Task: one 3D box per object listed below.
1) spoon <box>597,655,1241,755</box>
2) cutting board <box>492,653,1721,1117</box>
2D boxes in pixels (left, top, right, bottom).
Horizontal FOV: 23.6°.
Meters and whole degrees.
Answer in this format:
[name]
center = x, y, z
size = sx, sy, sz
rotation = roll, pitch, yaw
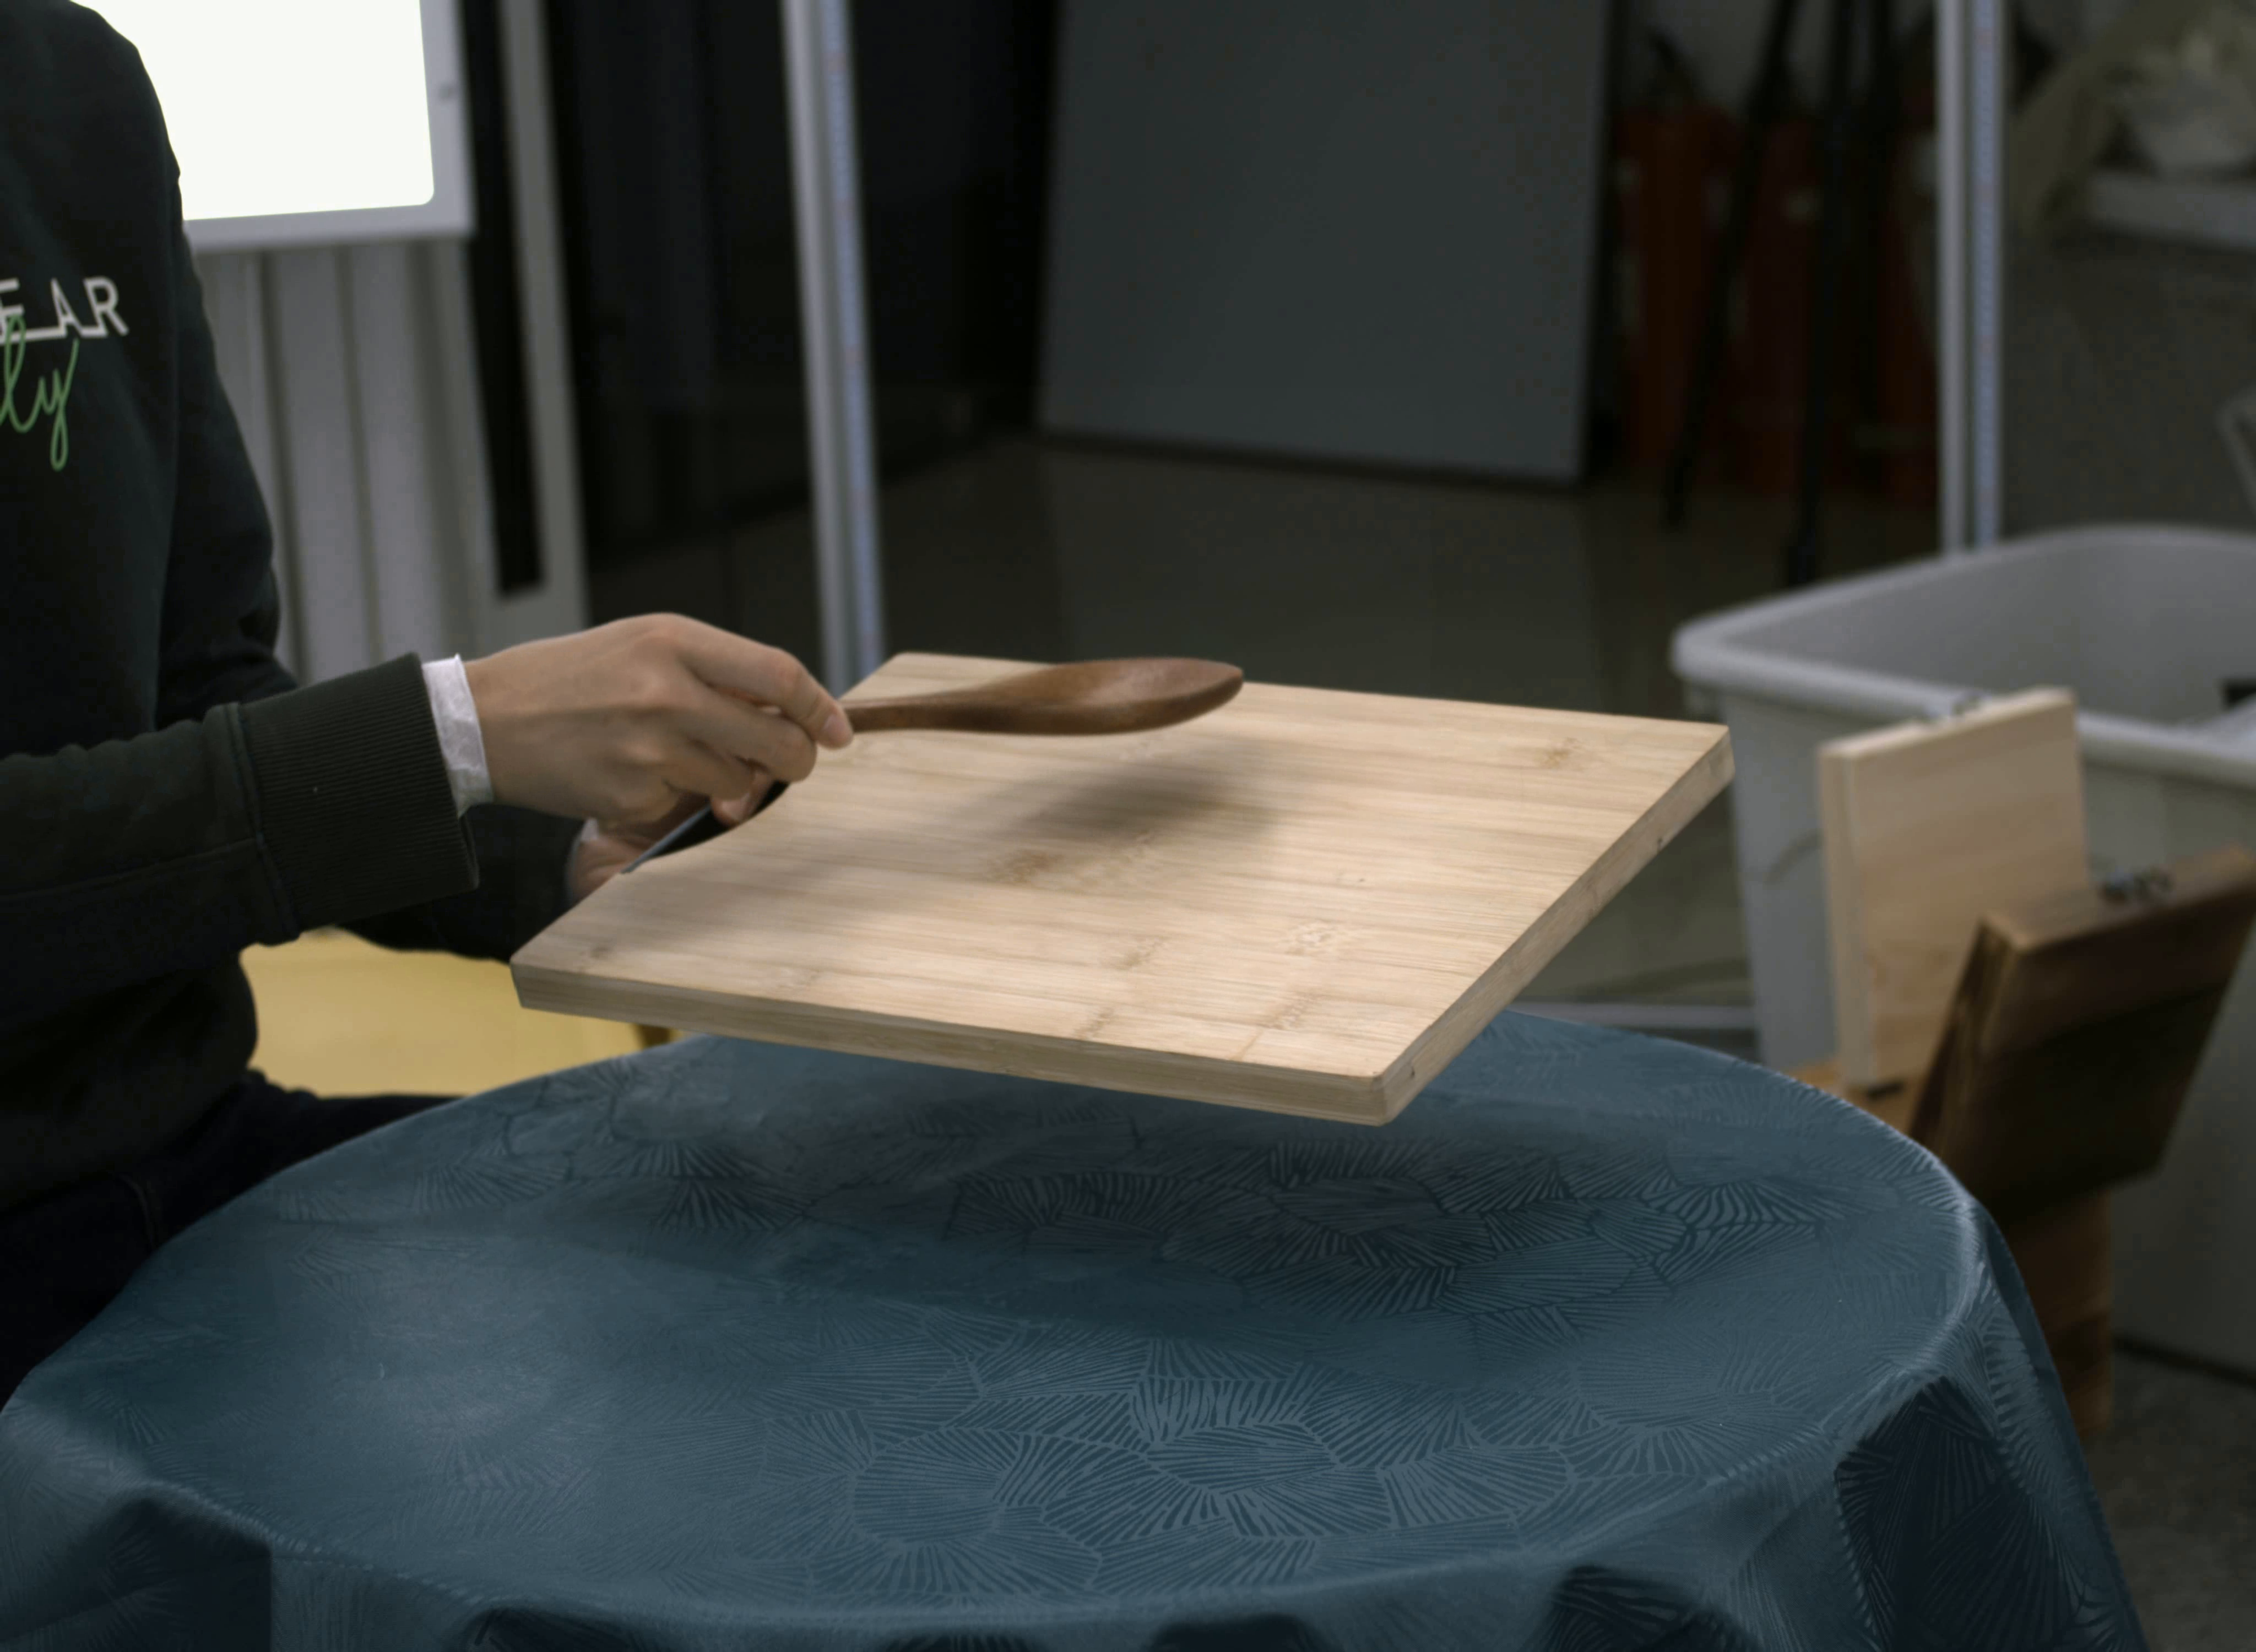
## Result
[spoon]
center = -0.069, -0.037, 1.784
size = 0.213, 0.017, 0.075
rotation = -4, 14, 1
[cutting board]
center = -0.007, 0.013, 1.779
size = 0.350, 0.024, 0.248
rotation = 5, 29, 34
